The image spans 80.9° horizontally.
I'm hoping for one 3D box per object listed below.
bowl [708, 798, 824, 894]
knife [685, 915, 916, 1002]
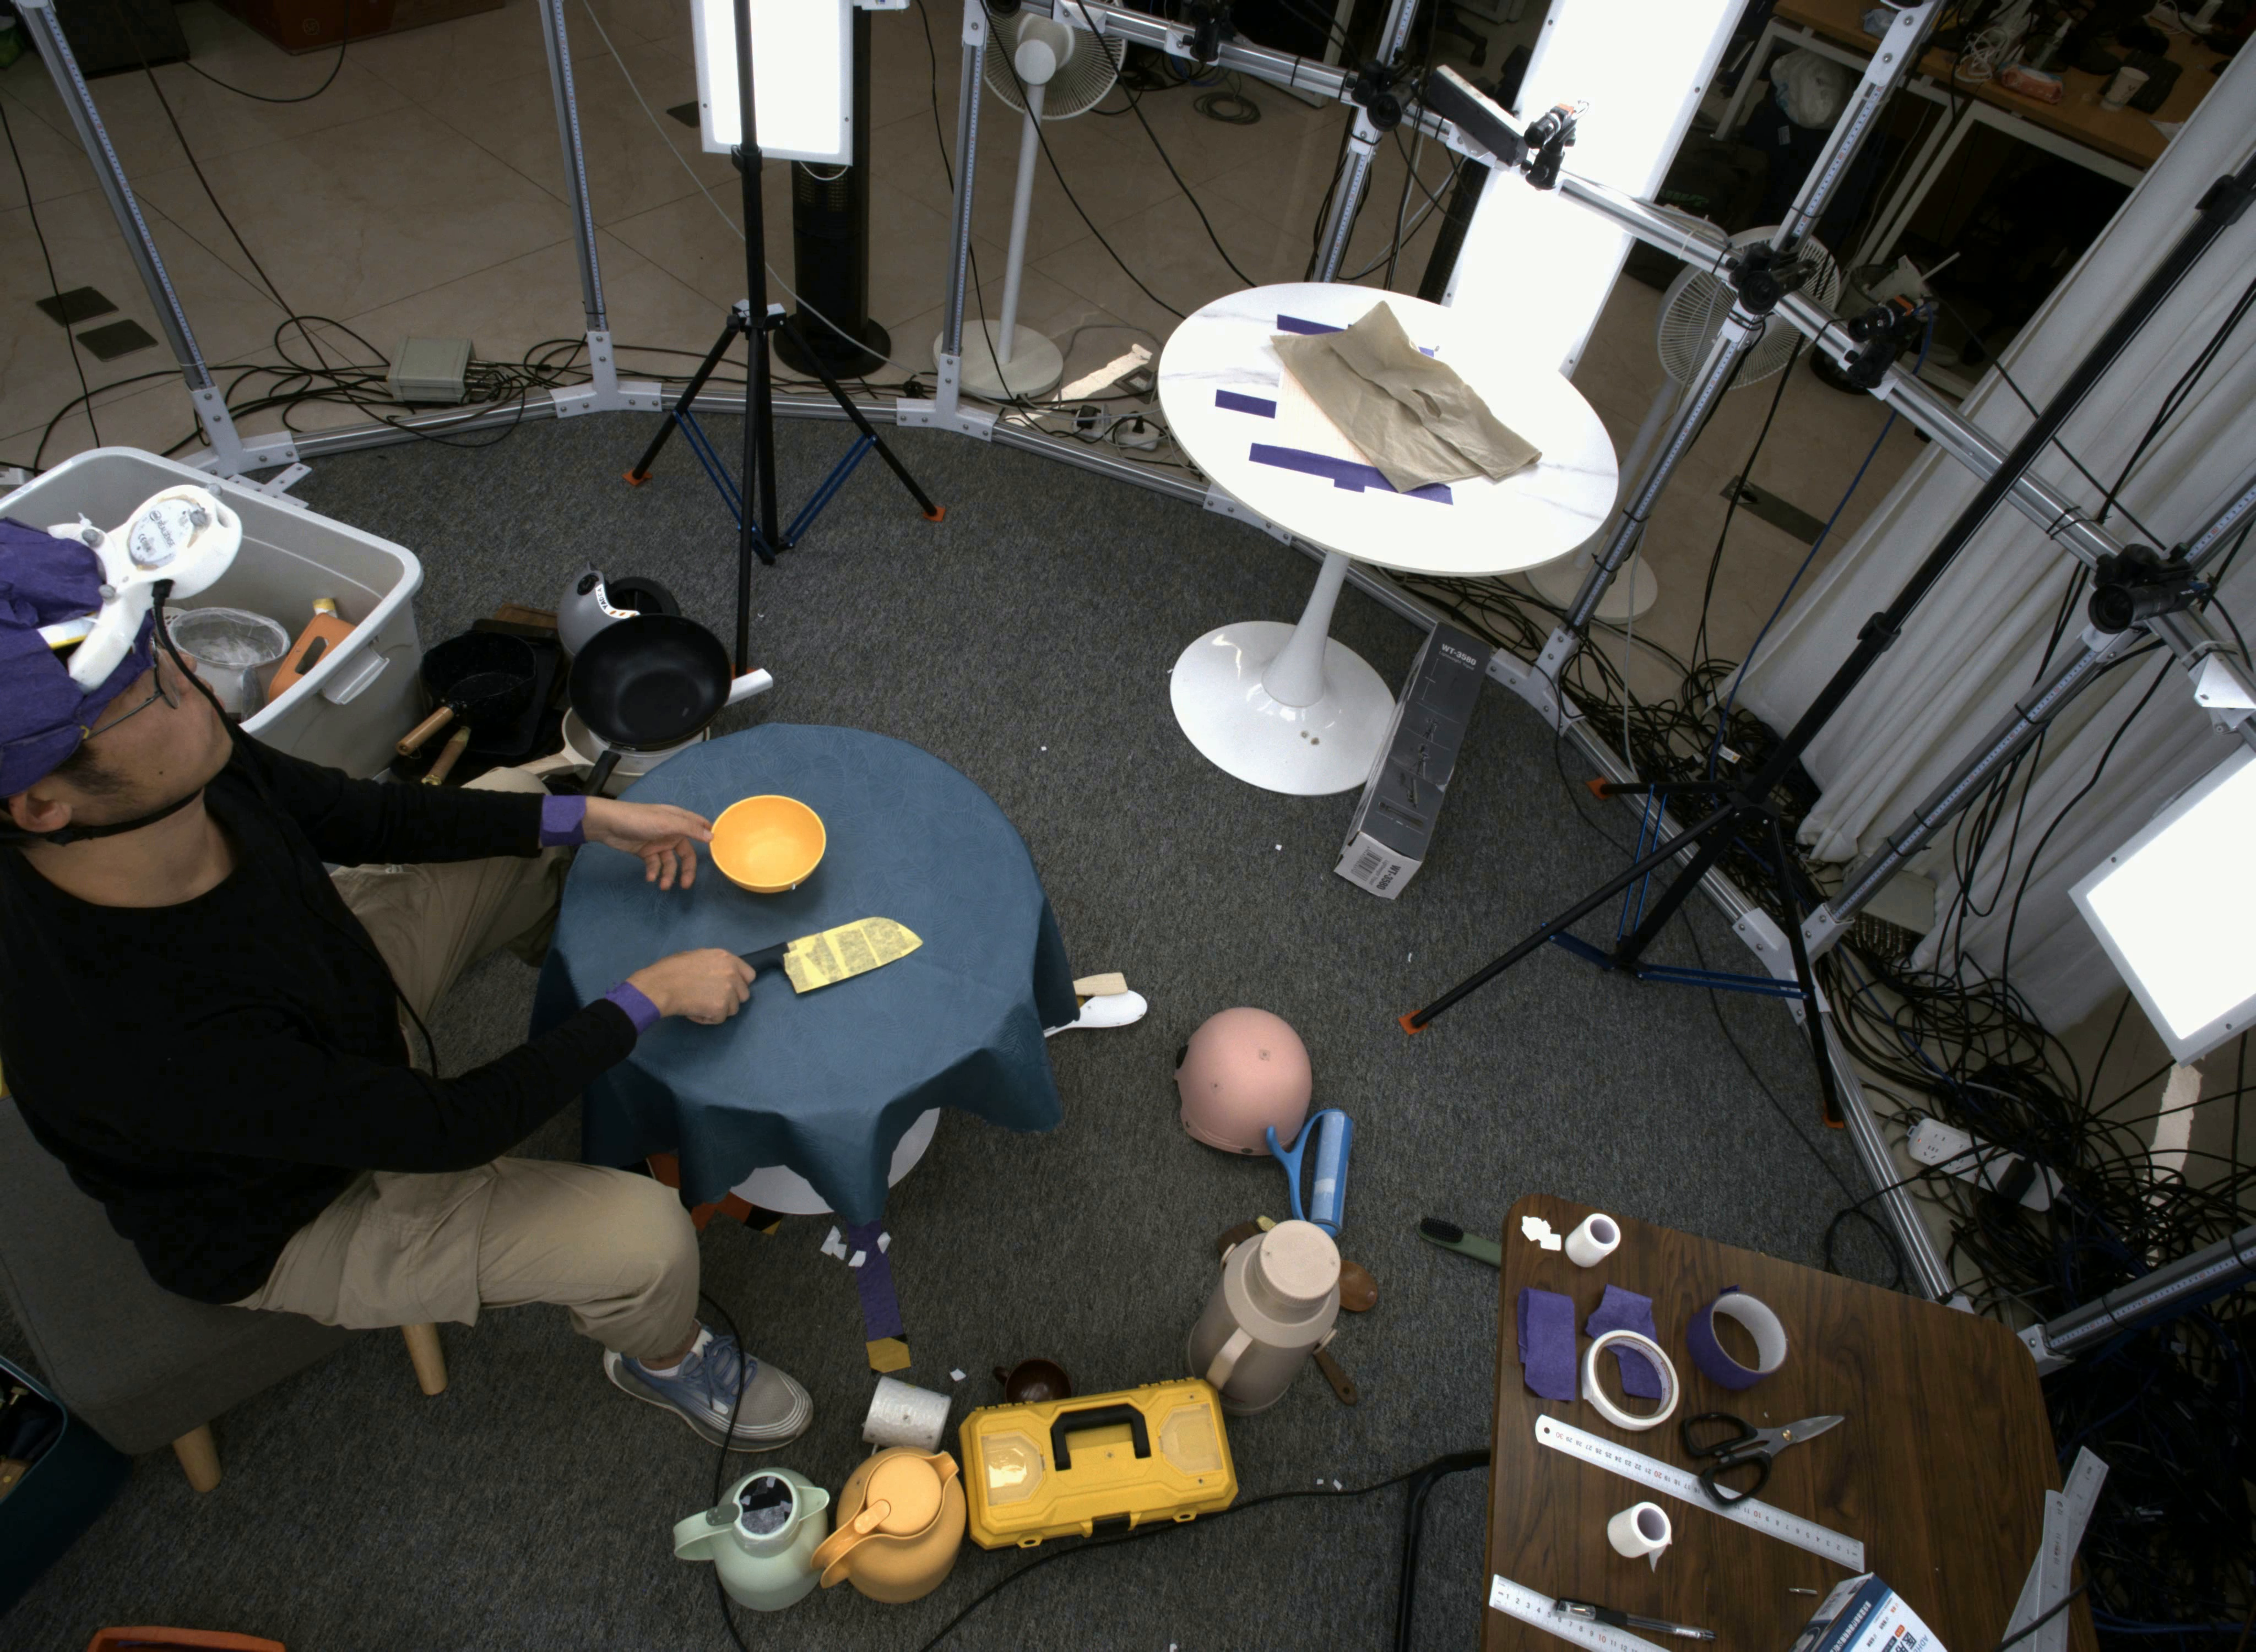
[{"bbox_3d":[-0.458,0.035,1.648,0.145,0.061,0.142,8,50,-7],"label":"bowl"},{"bbox_3d":[-0.397,0.167,1.594,0.291,0.028,0.079,-16,58,-26],"label":"knife"}]
